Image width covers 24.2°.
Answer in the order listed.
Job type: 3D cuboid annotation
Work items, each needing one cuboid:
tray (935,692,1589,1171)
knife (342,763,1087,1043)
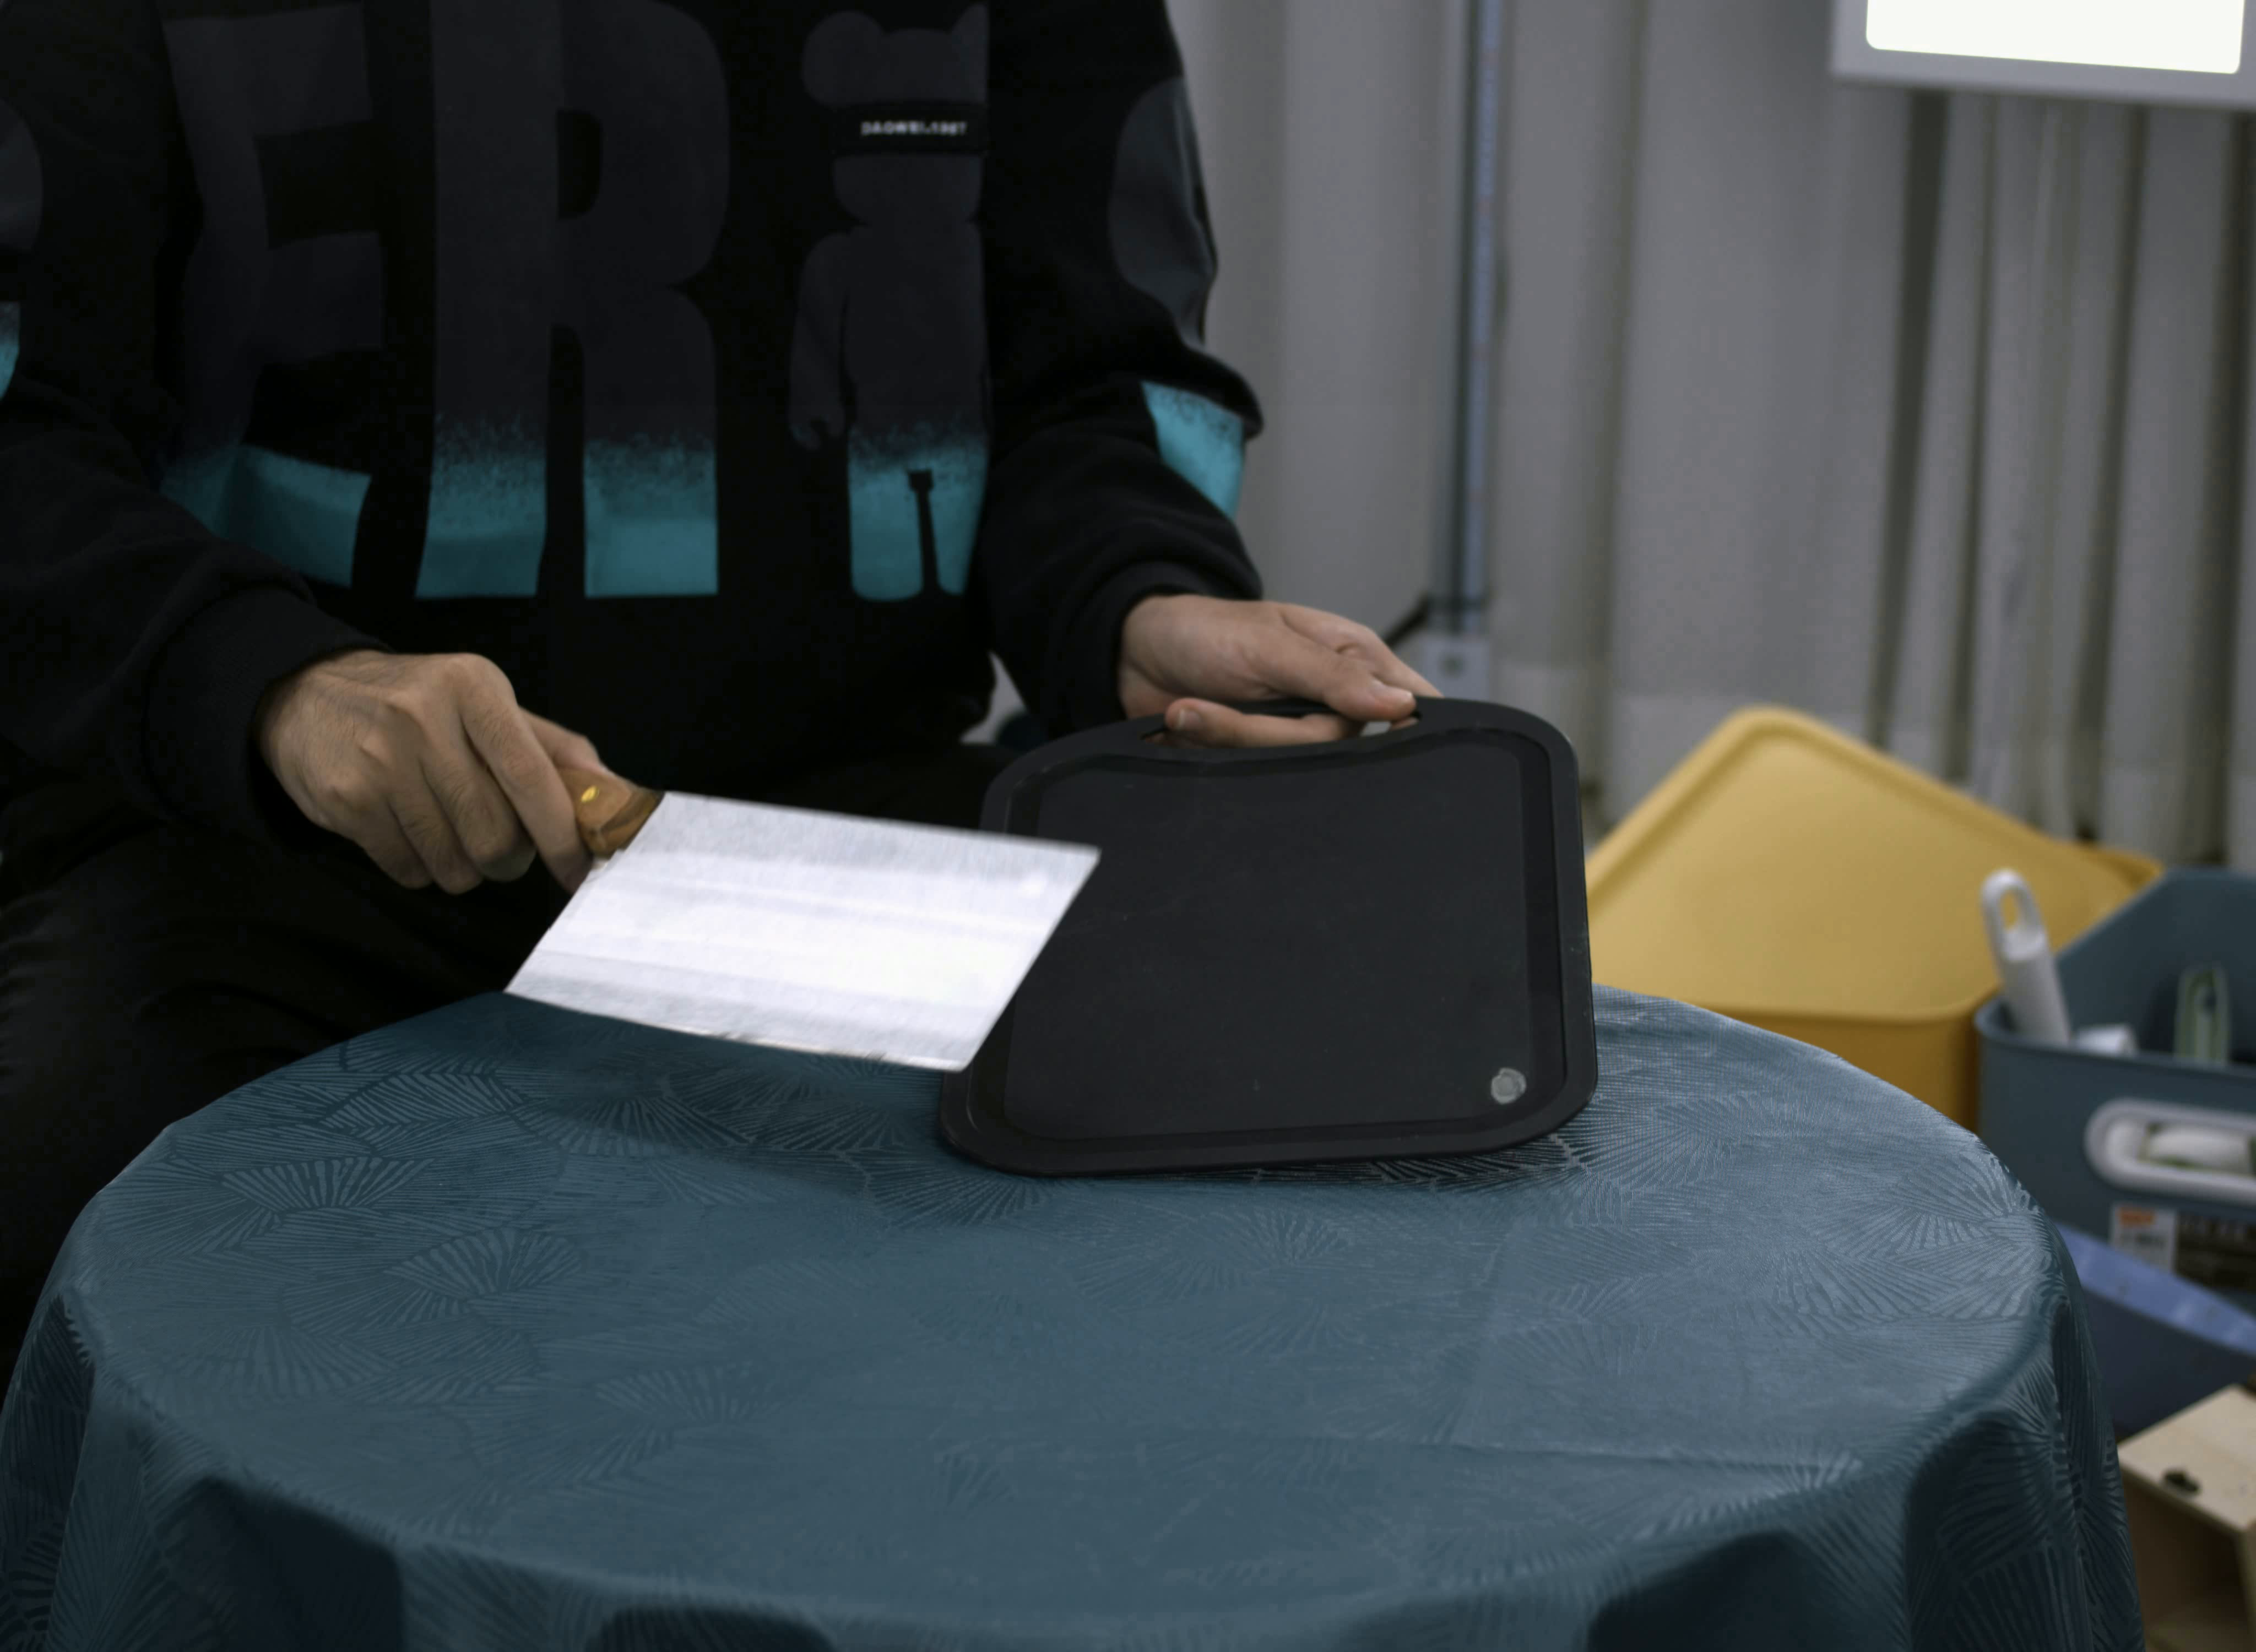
[{"bbox_3d":[0.048,0.027,1.769,0.210,0.010,0.323,-3,28,5],"label":"tray"},{"bbox_3d":[-0.150,0.026,1.691,0.302,0.021,0.093,8,51,36],"label":"knife"}]
